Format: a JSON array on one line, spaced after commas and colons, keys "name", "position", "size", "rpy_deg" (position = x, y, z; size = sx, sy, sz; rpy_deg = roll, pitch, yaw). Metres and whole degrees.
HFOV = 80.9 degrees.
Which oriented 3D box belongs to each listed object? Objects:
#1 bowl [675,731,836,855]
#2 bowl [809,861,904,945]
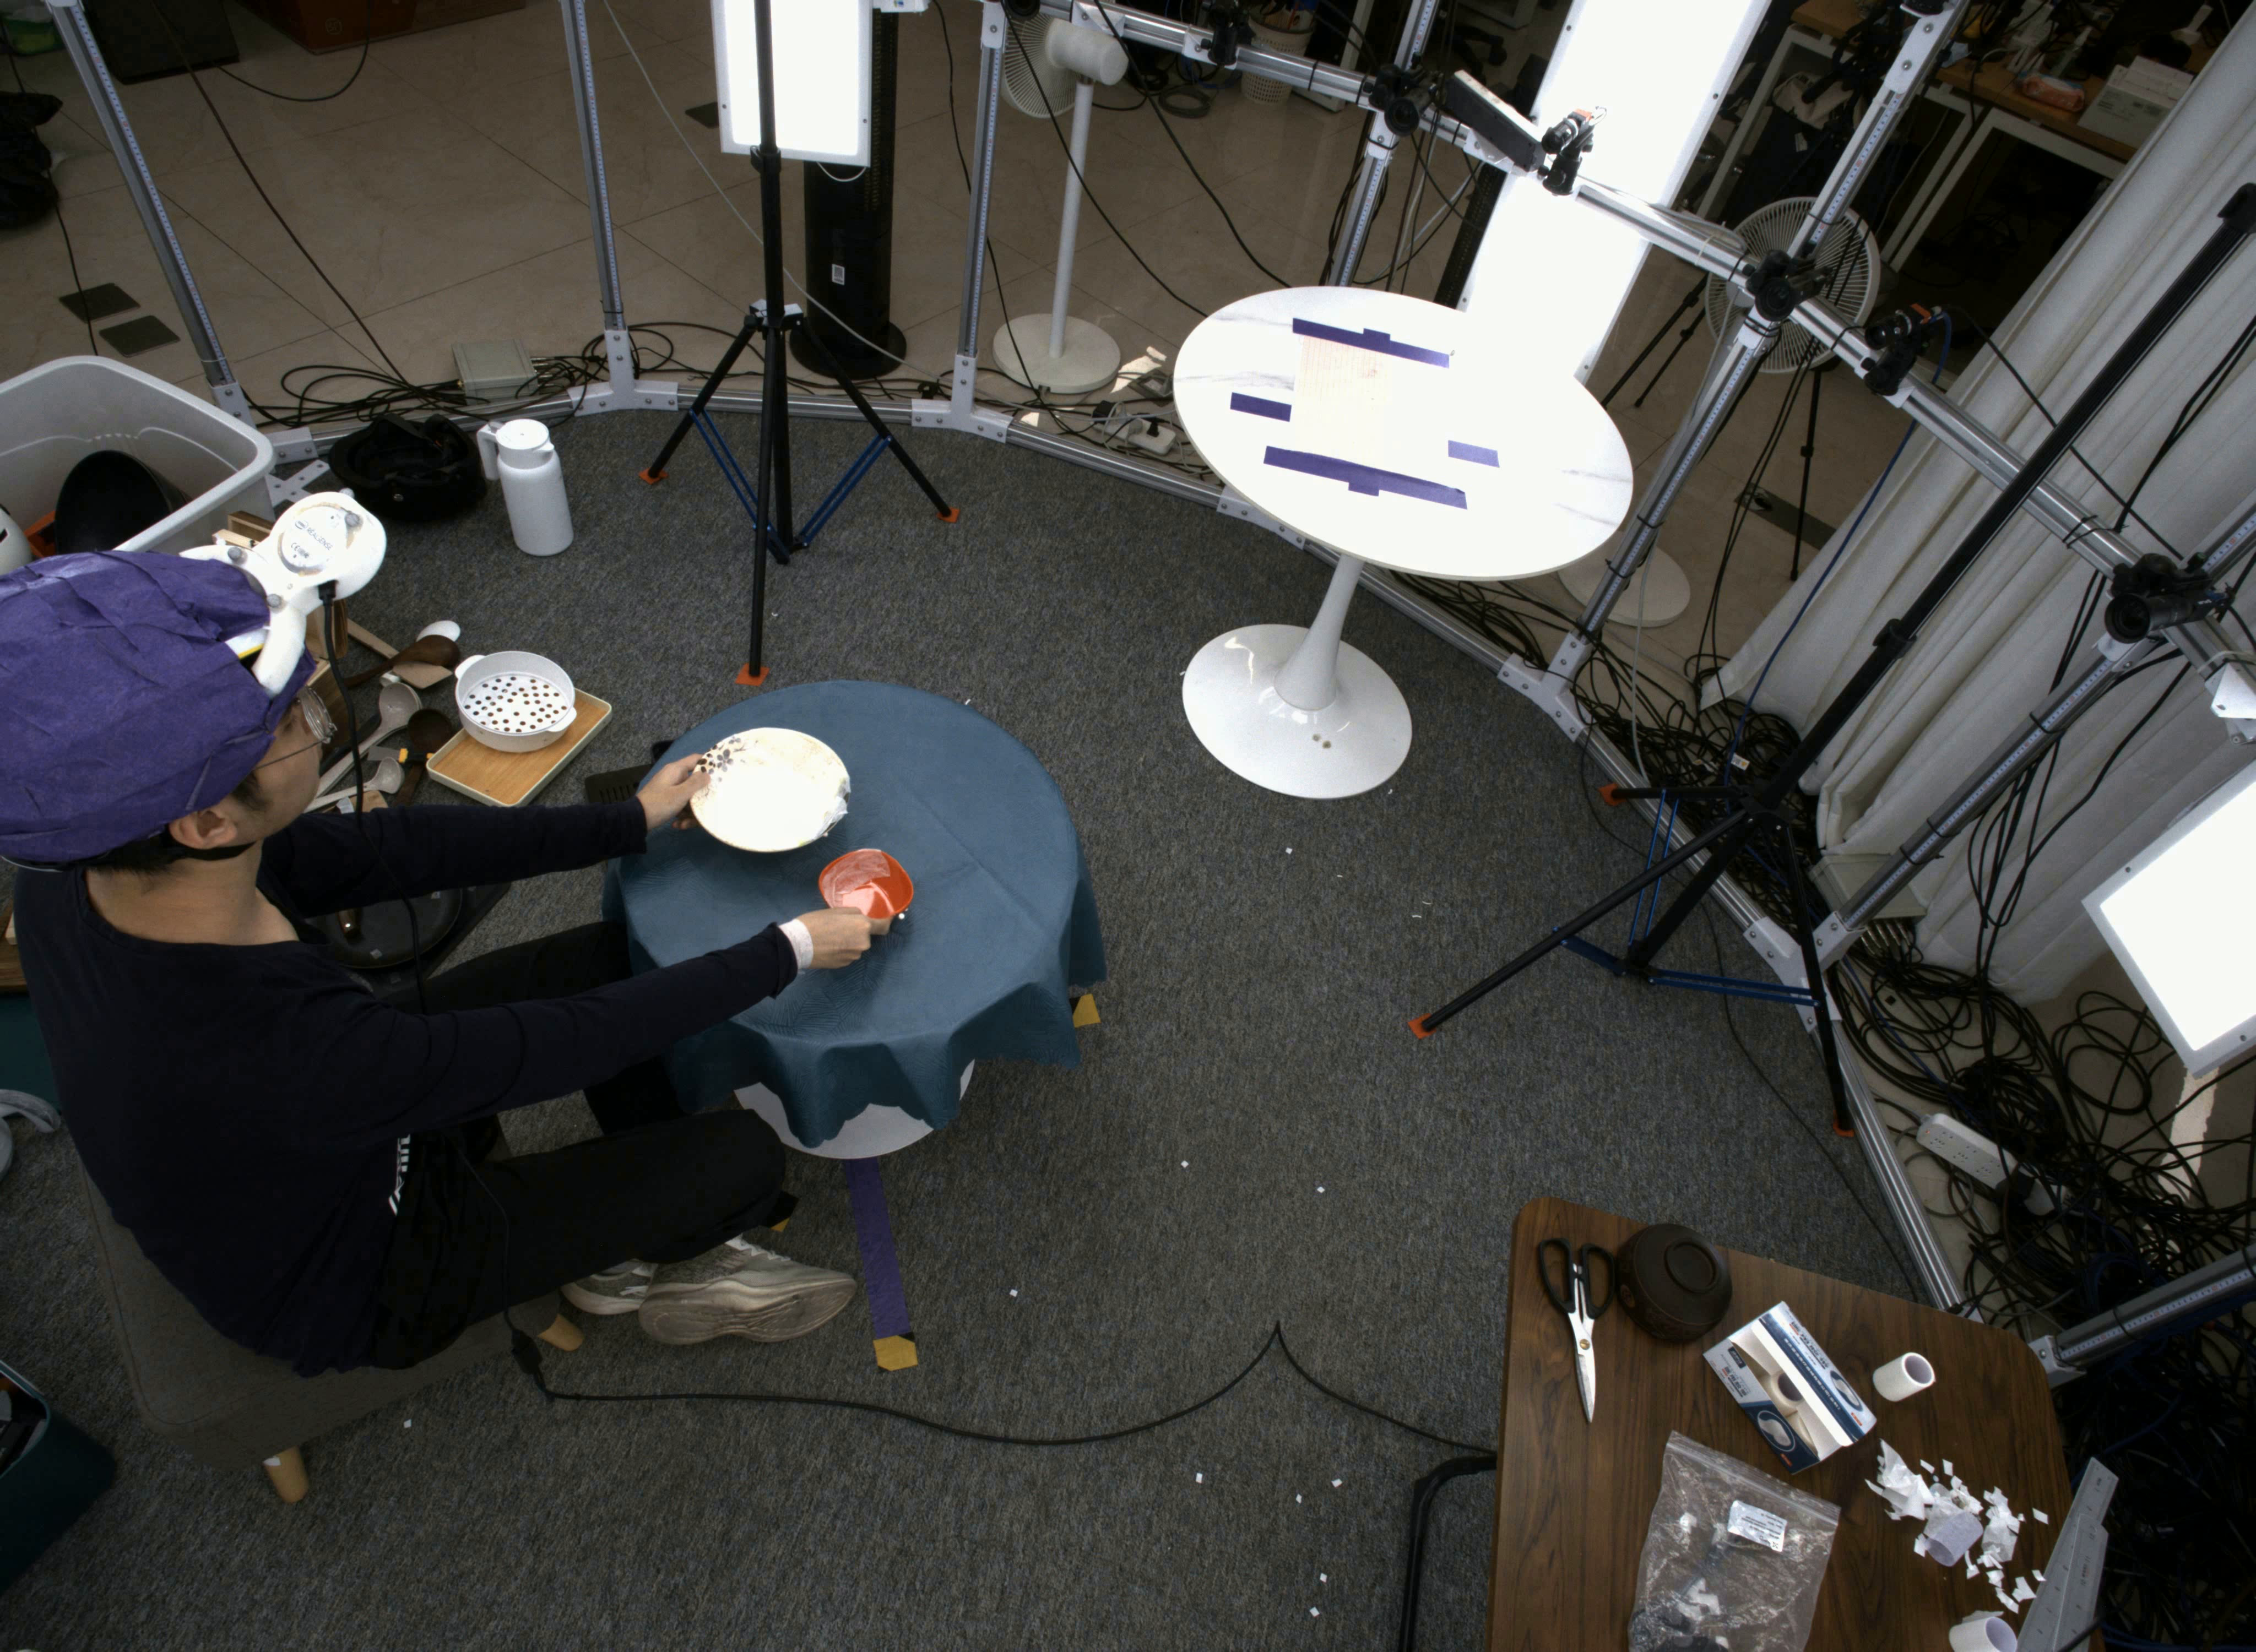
[{"name": "bowl", "position": [-0.483, -0.024, 1.689], "size": [0.203, 0.079, 0.200], "rpy_deg": [7, 52, -8]}, {"name": "bowl", "position": [-0.345, 0.105, 1.655], "size": [0.118, 0.052, 0.116], "rpy_deg": [7, 48, -6]}]
